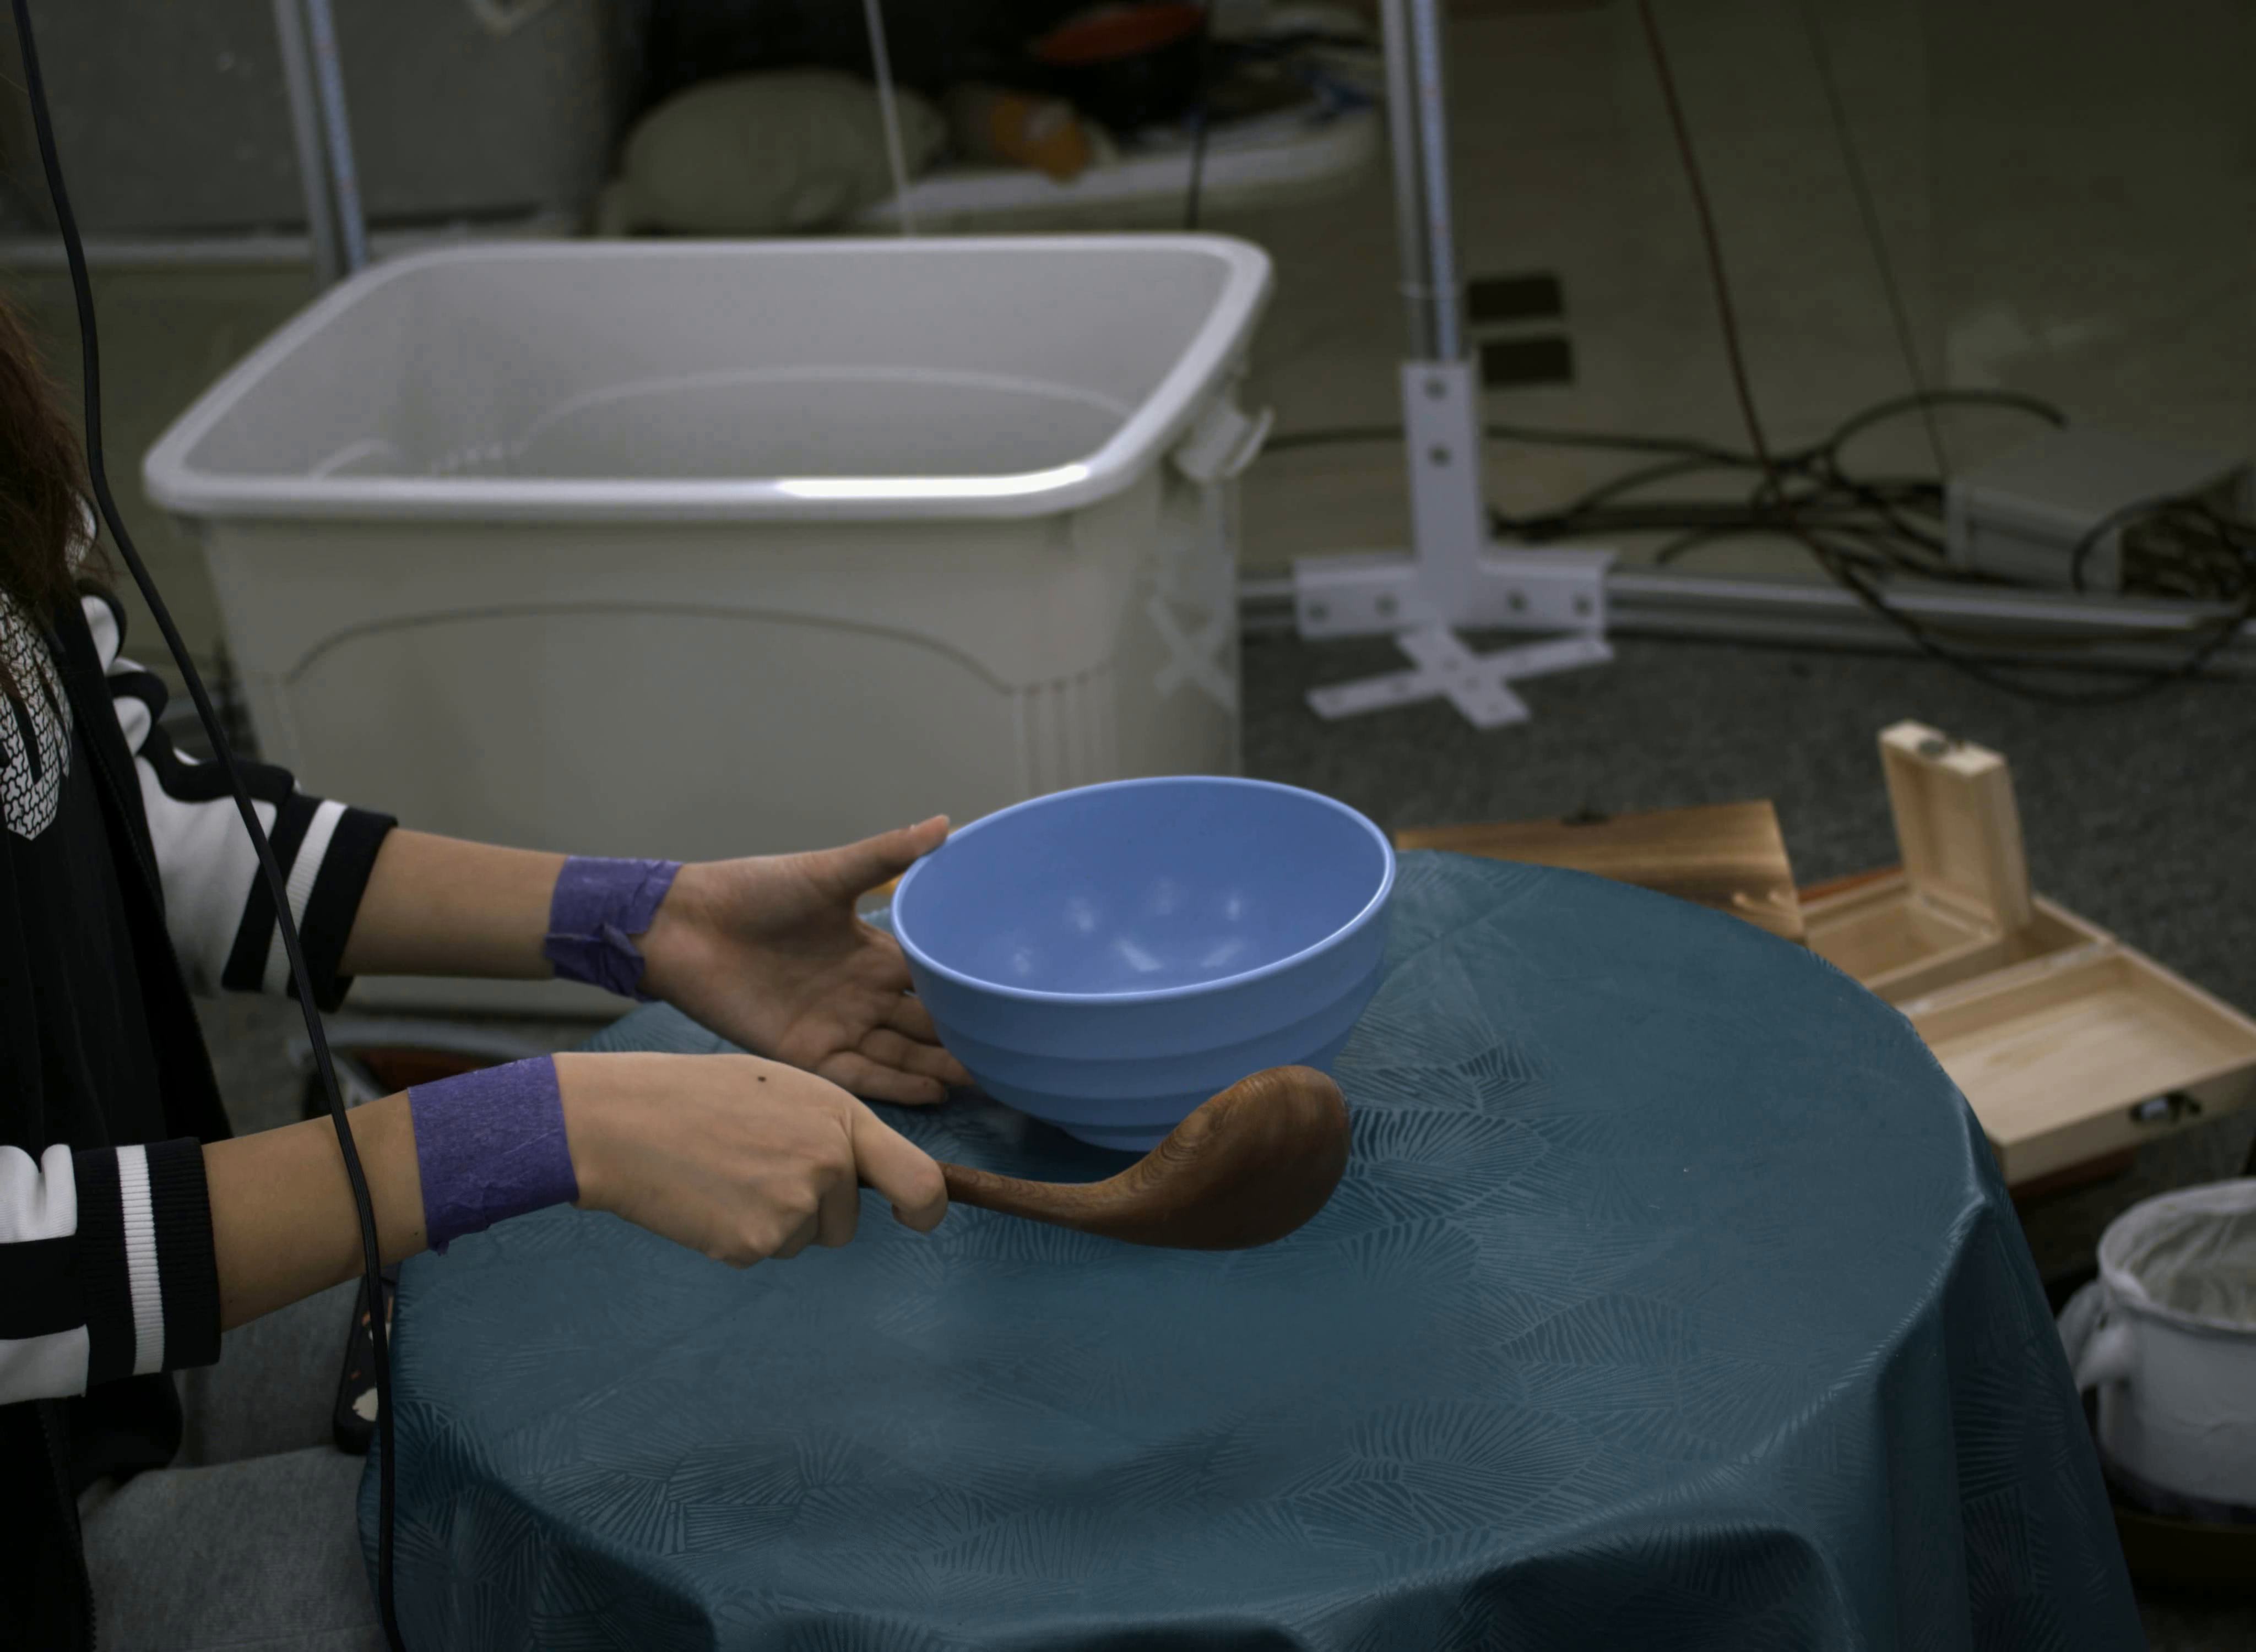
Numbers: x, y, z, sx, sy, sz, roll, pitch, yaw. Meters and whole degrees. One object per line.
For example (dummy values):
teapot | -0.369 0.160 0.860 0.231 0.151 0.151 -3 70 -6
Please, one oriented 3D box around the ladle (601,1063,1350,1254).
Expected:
ladle | -0.053 0.114 1.969 0.259 0.078 0.064 2 48 12

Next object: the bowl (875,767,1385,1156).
bowl | 0.002 0.064 2.197 0.196 0.097 0.193 -2 30 1
